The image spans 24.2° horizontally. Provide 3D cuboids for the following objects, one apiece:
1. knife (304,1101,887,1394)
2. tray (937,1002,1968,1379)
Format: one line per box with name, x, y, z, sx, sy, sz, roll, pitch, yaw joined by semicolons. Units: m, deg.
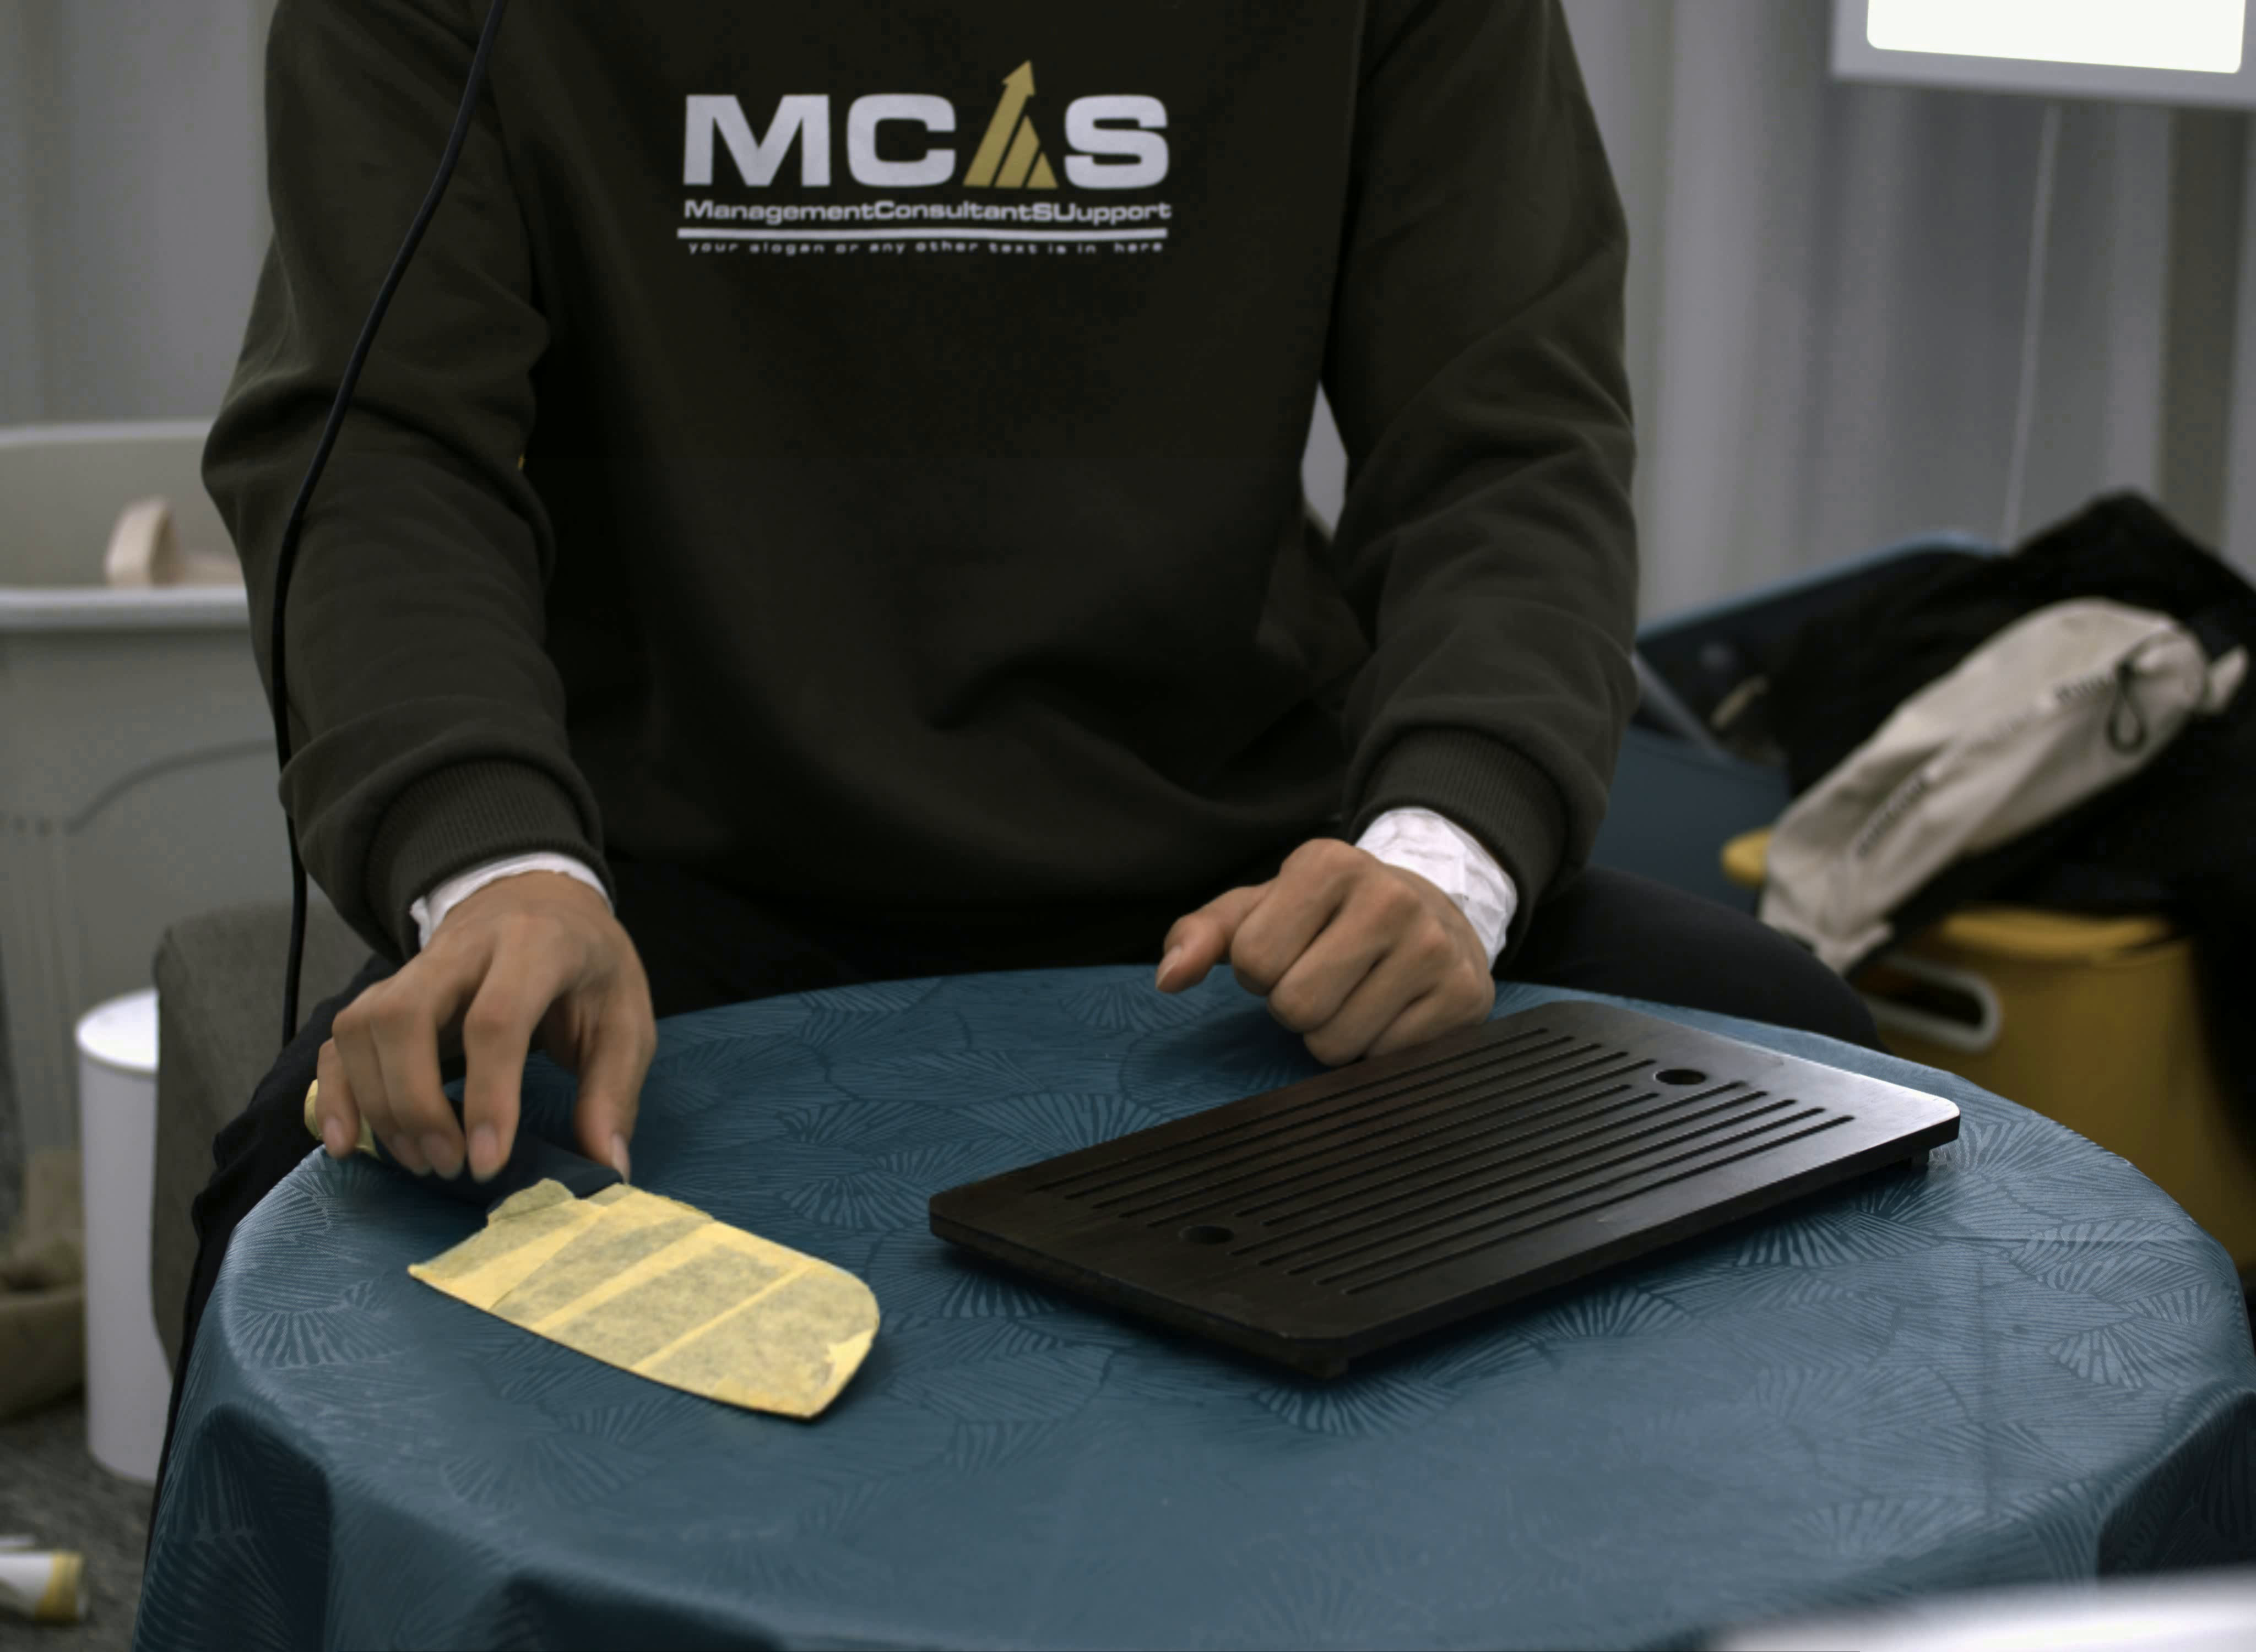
knife;-0.169;0.124;1.549;0.081;0.027;0.285;-22;25;-35
tray;0.103;0.108;1.610;0.307;0.019;0.168;-14;20;-43
